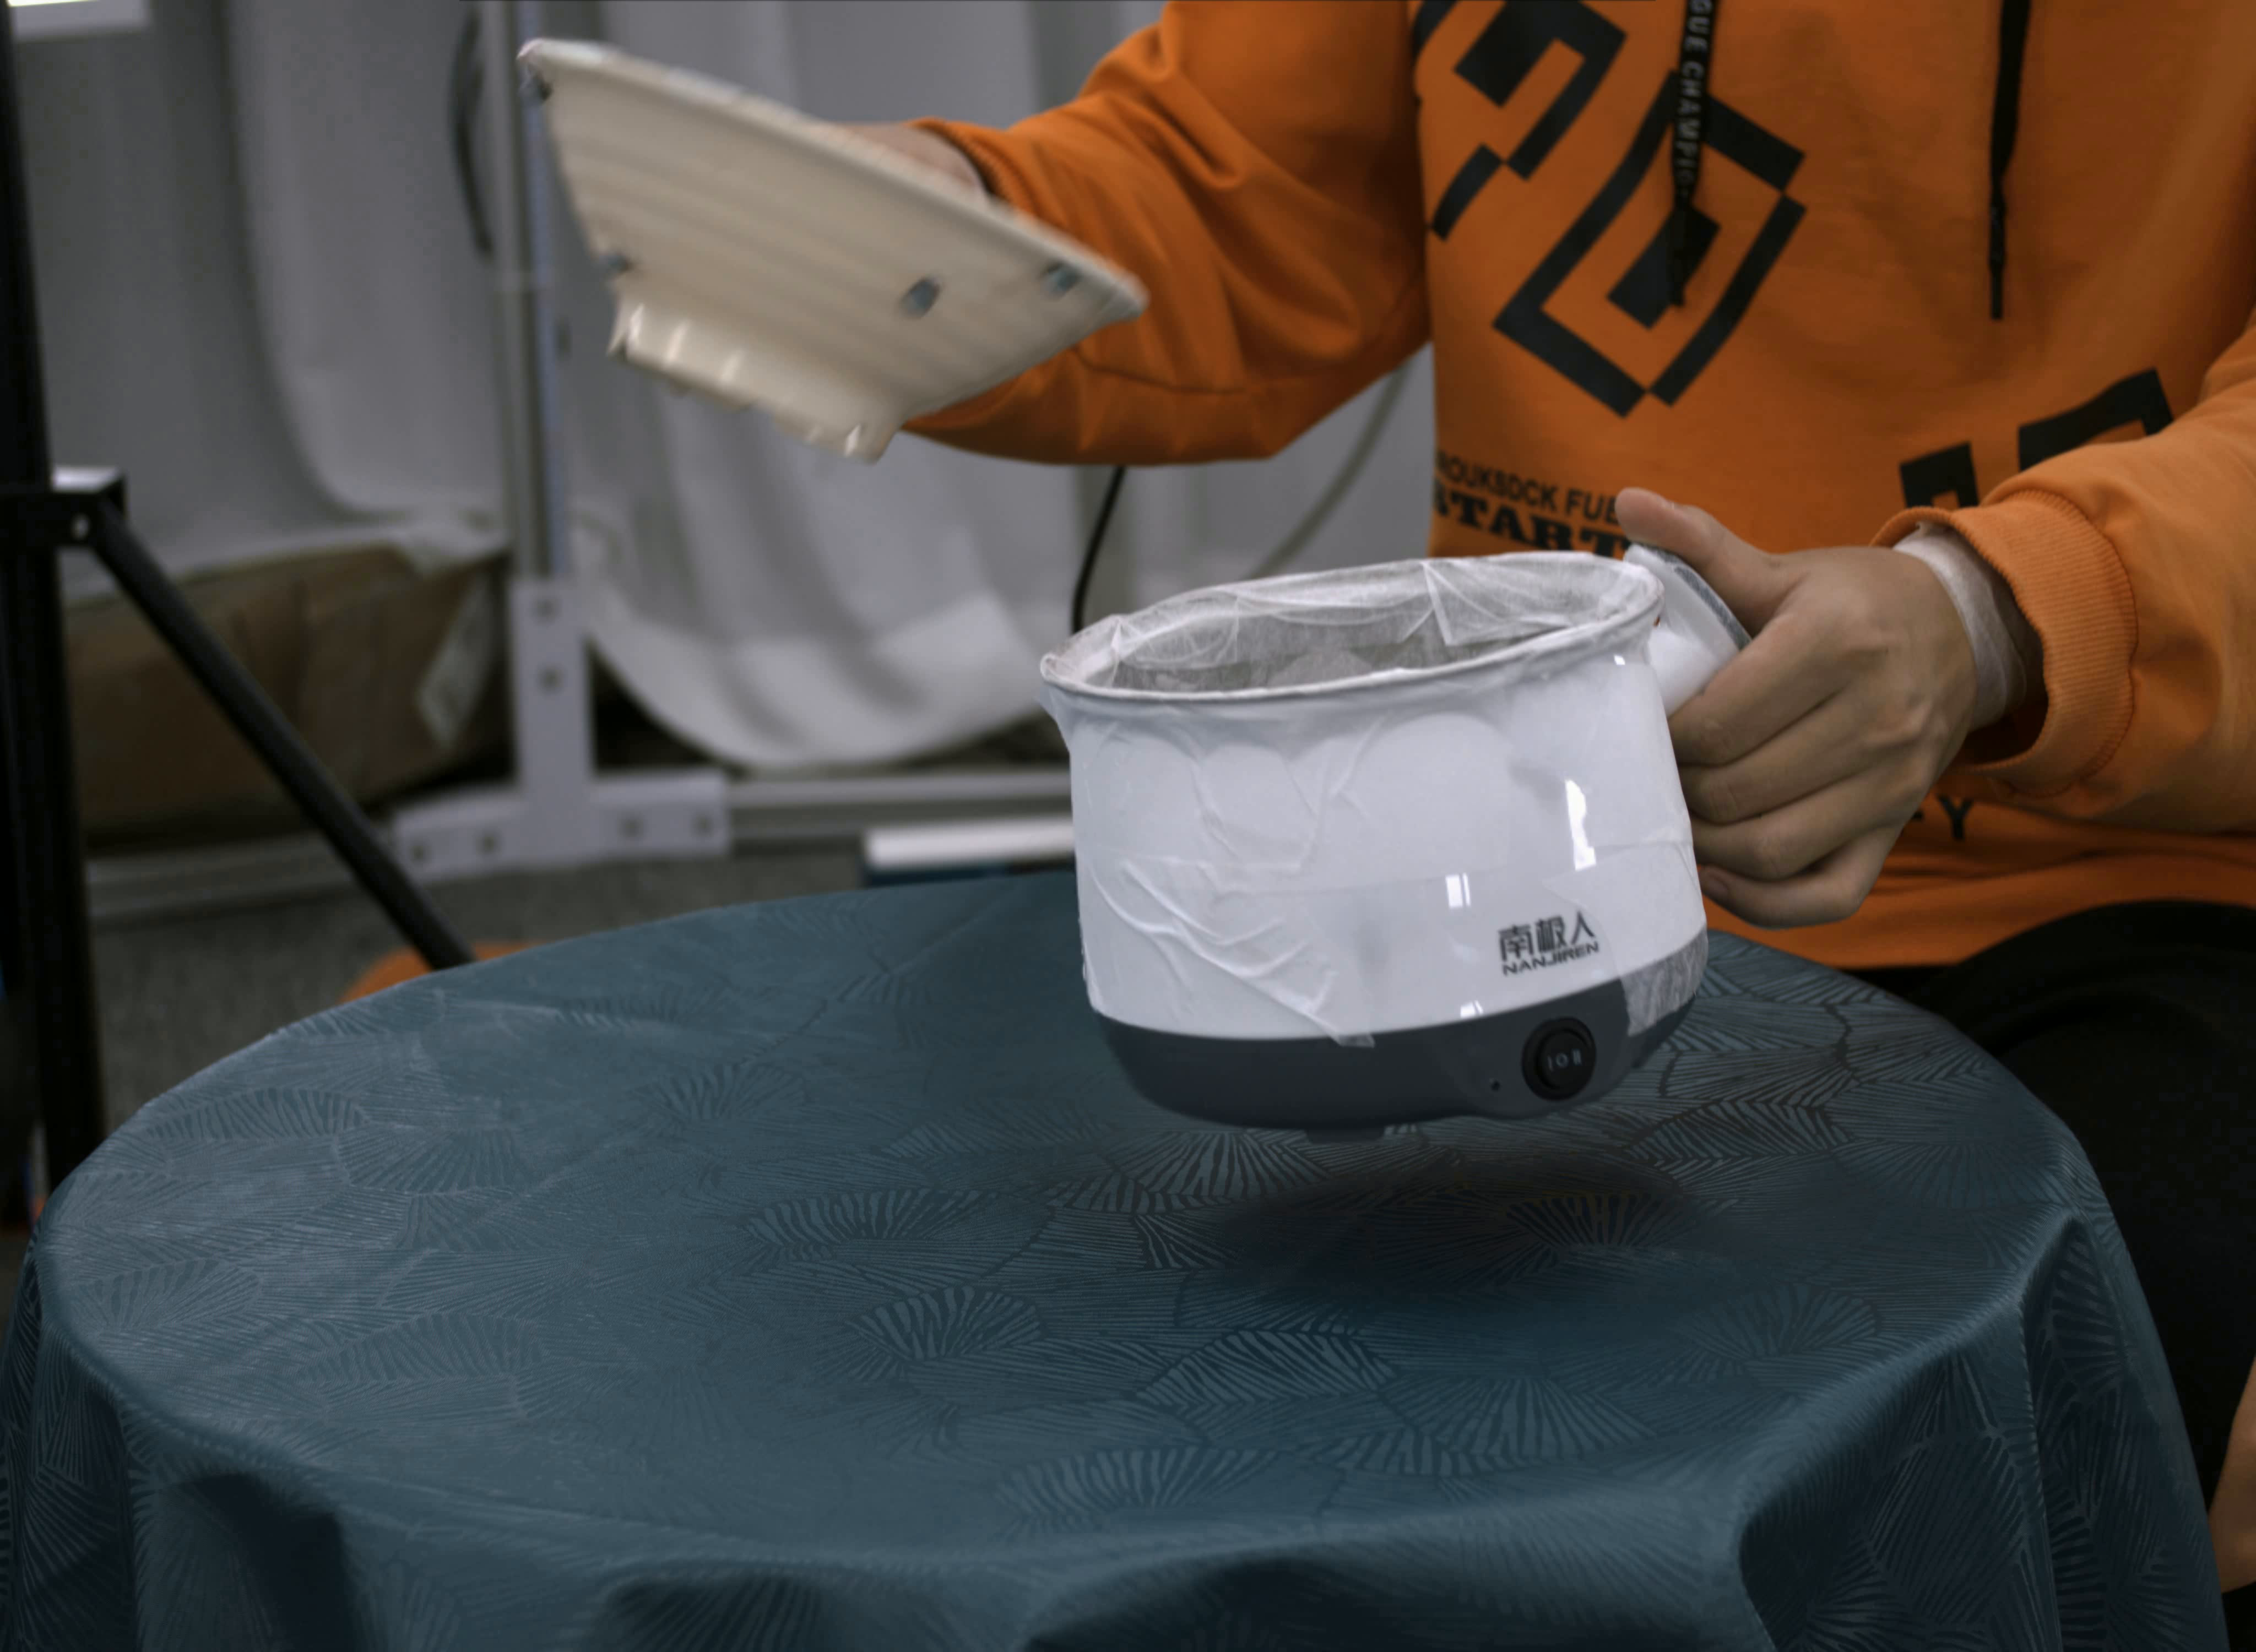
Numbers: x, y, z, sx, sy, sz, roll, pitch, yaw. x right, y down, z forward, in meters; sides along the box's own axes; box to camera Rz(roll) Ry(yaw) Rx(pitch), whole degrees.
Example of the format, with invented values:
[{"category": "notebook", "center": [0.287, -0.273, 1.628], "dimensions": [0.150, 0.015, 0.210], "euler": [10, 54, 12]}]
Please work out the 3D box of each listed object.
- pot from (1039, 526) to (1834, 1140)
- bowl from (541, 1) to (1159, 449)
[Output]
[{"category": "pot", "center": [0.095, -0.004, 1.513], "dimensions": [0.229, 0.136, 0.182], "euler": [-14, 14, -25]}, {"category": "bowl", "center": [-0.097, -0.166, 1.605], "dimensions": [0.203, 0.078, 0.204], "euler": [24, -5, 1]}]
